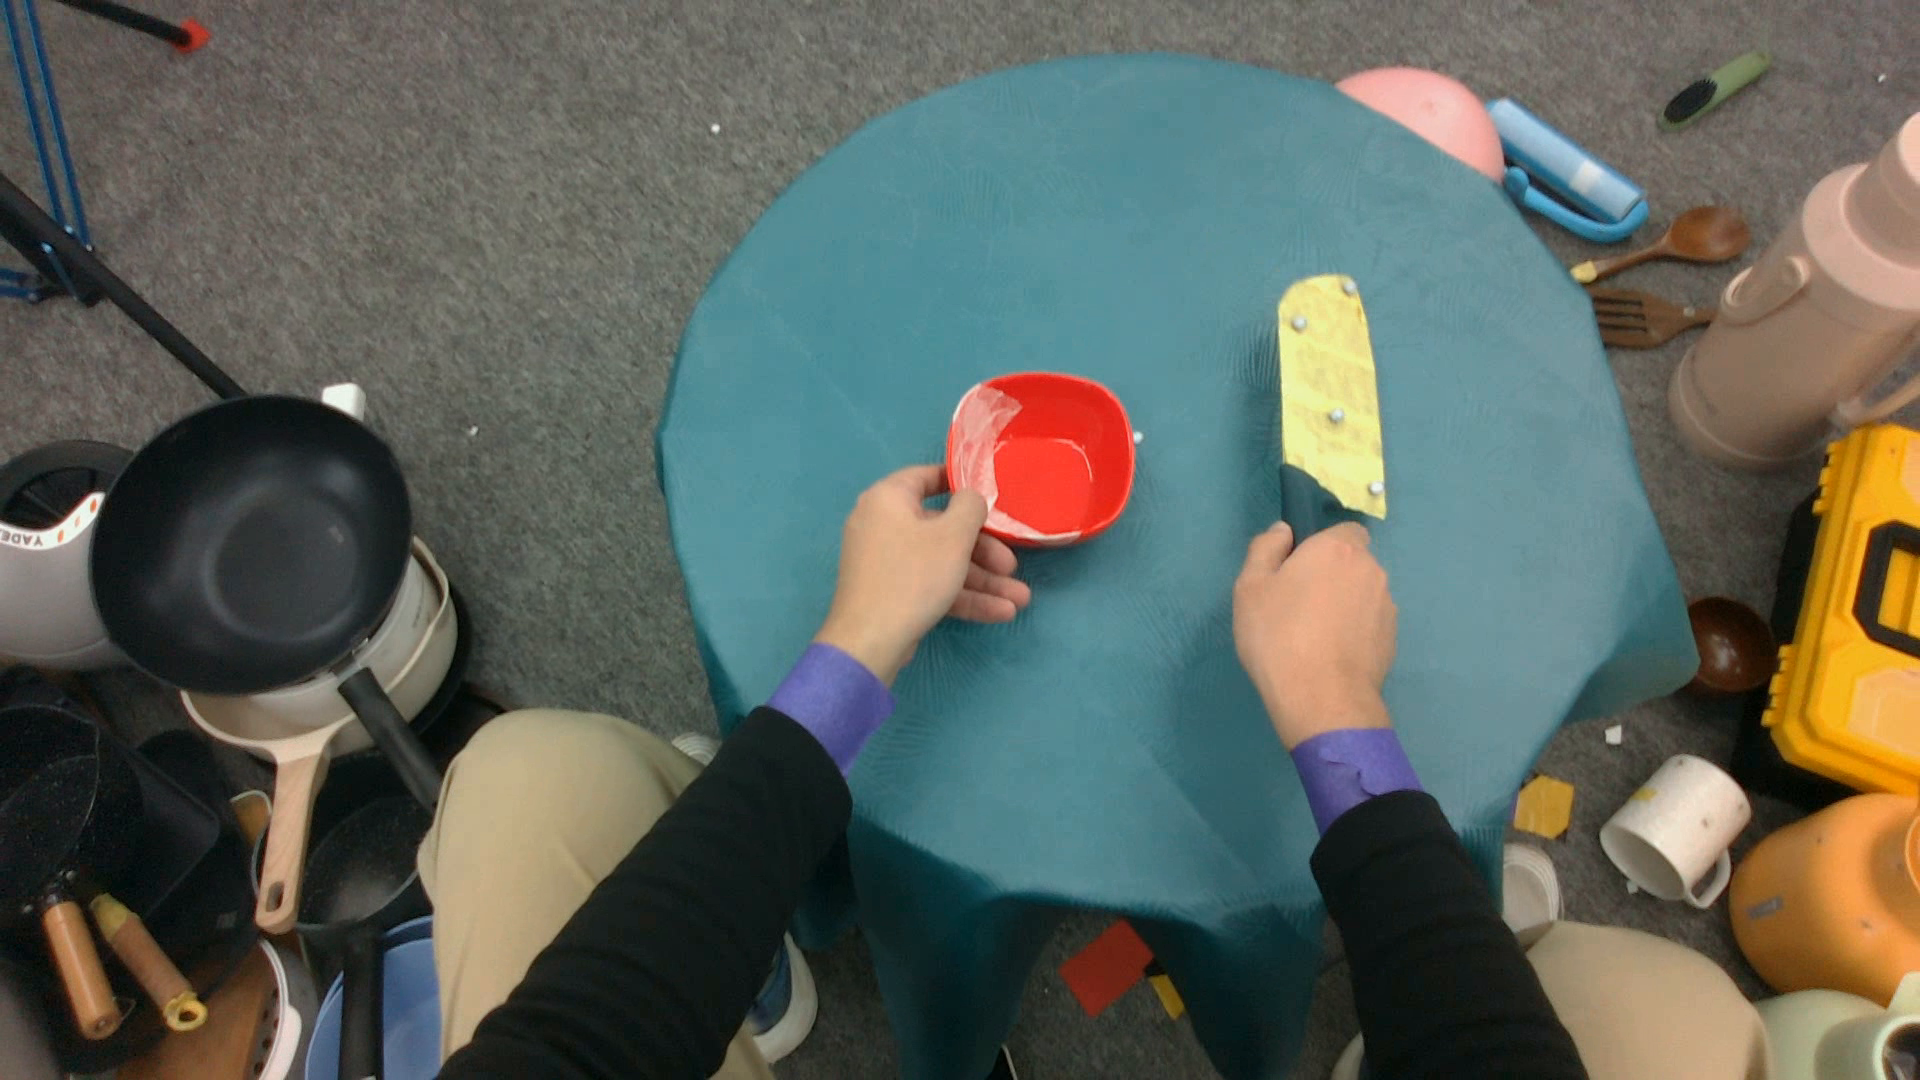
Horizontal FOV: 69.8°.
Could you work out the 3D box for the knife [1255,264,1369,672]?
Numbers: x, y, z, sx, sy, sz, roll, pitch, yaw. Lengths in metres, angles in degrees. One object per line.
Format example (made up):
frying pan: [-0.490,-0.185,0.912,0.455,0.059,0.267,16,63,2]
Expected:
knife: [0.208,-0.052,0.817,0.081,0.027,0.291,17,60,-14]

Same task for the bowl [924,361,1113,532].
bowl: [0.034,-0.048,0.822,0.119,0.051,0.119,0,63,-1]
